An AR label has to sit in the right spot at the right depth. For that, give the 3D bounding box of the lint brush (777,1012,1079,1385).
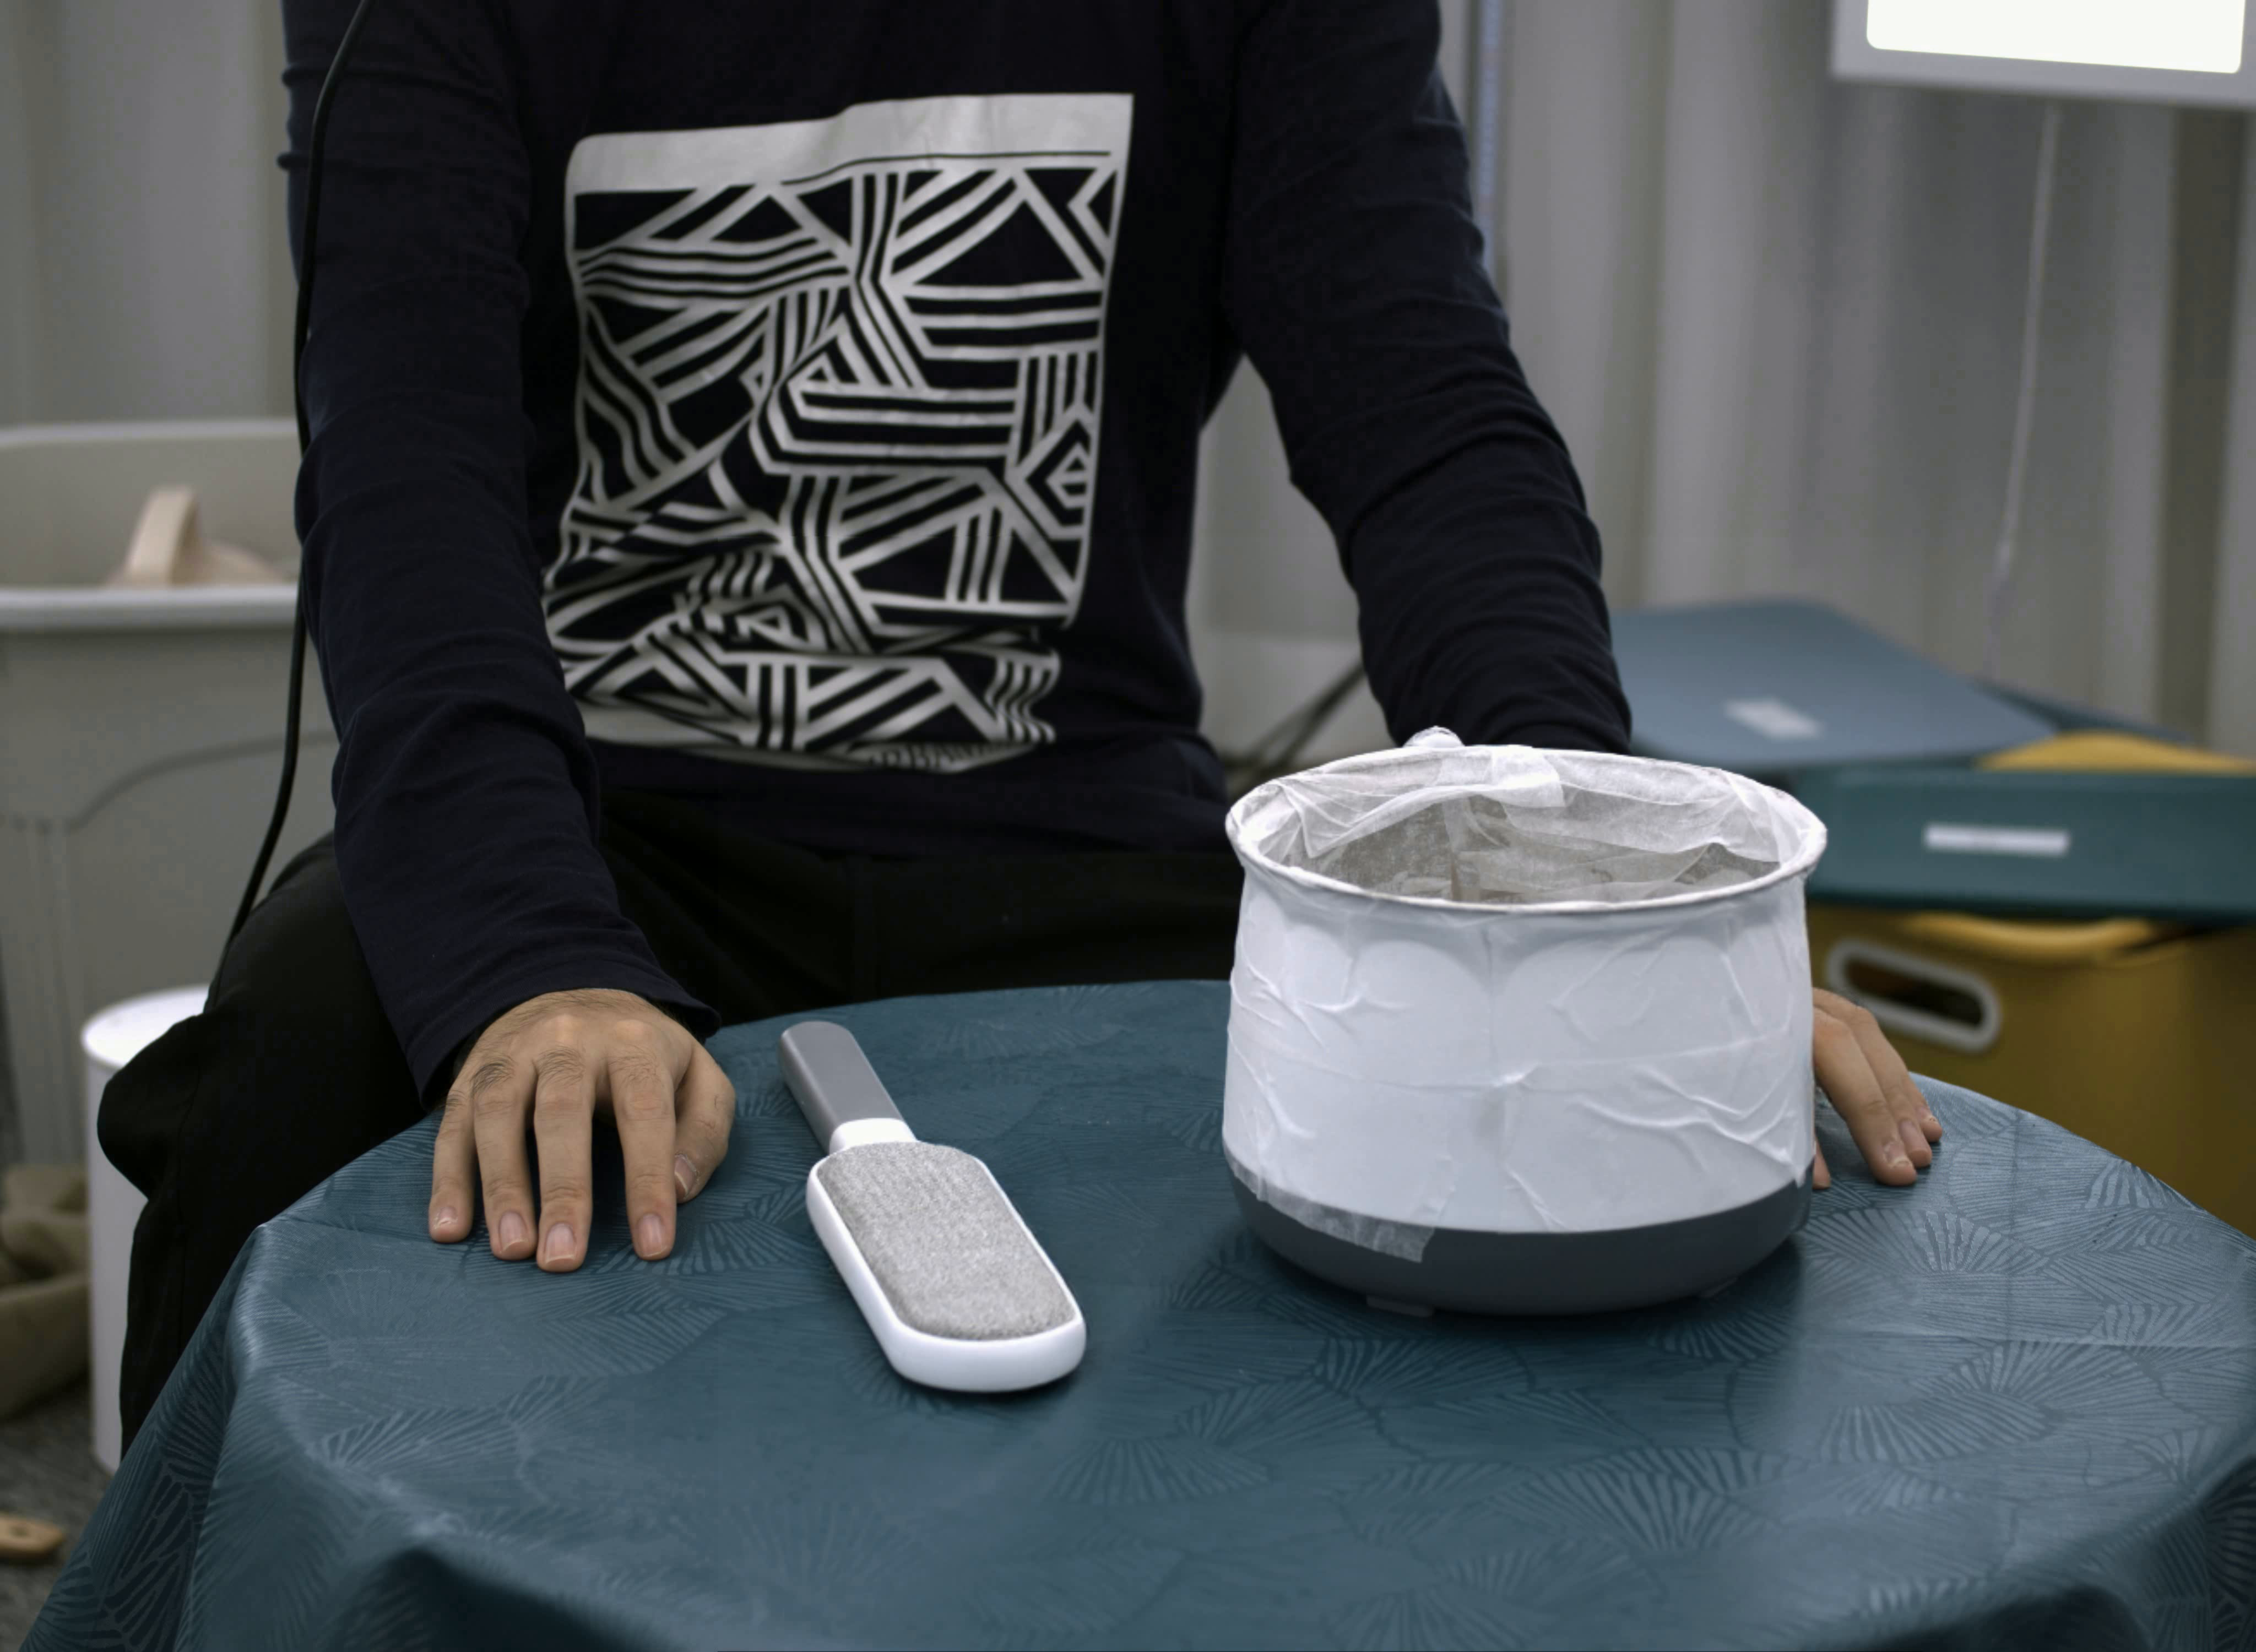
[{"bbox_3d":[-0.069,0.108,1.589,0.060,0.021,0.306,-9,17,-11],"label":"lint brush"}]

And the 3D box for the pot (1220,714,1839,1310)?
[{"bbox_3d":[0.110,0.050,1.586,0.179,0.137,0.231,-1,16,-14],"label":"pot"}]
